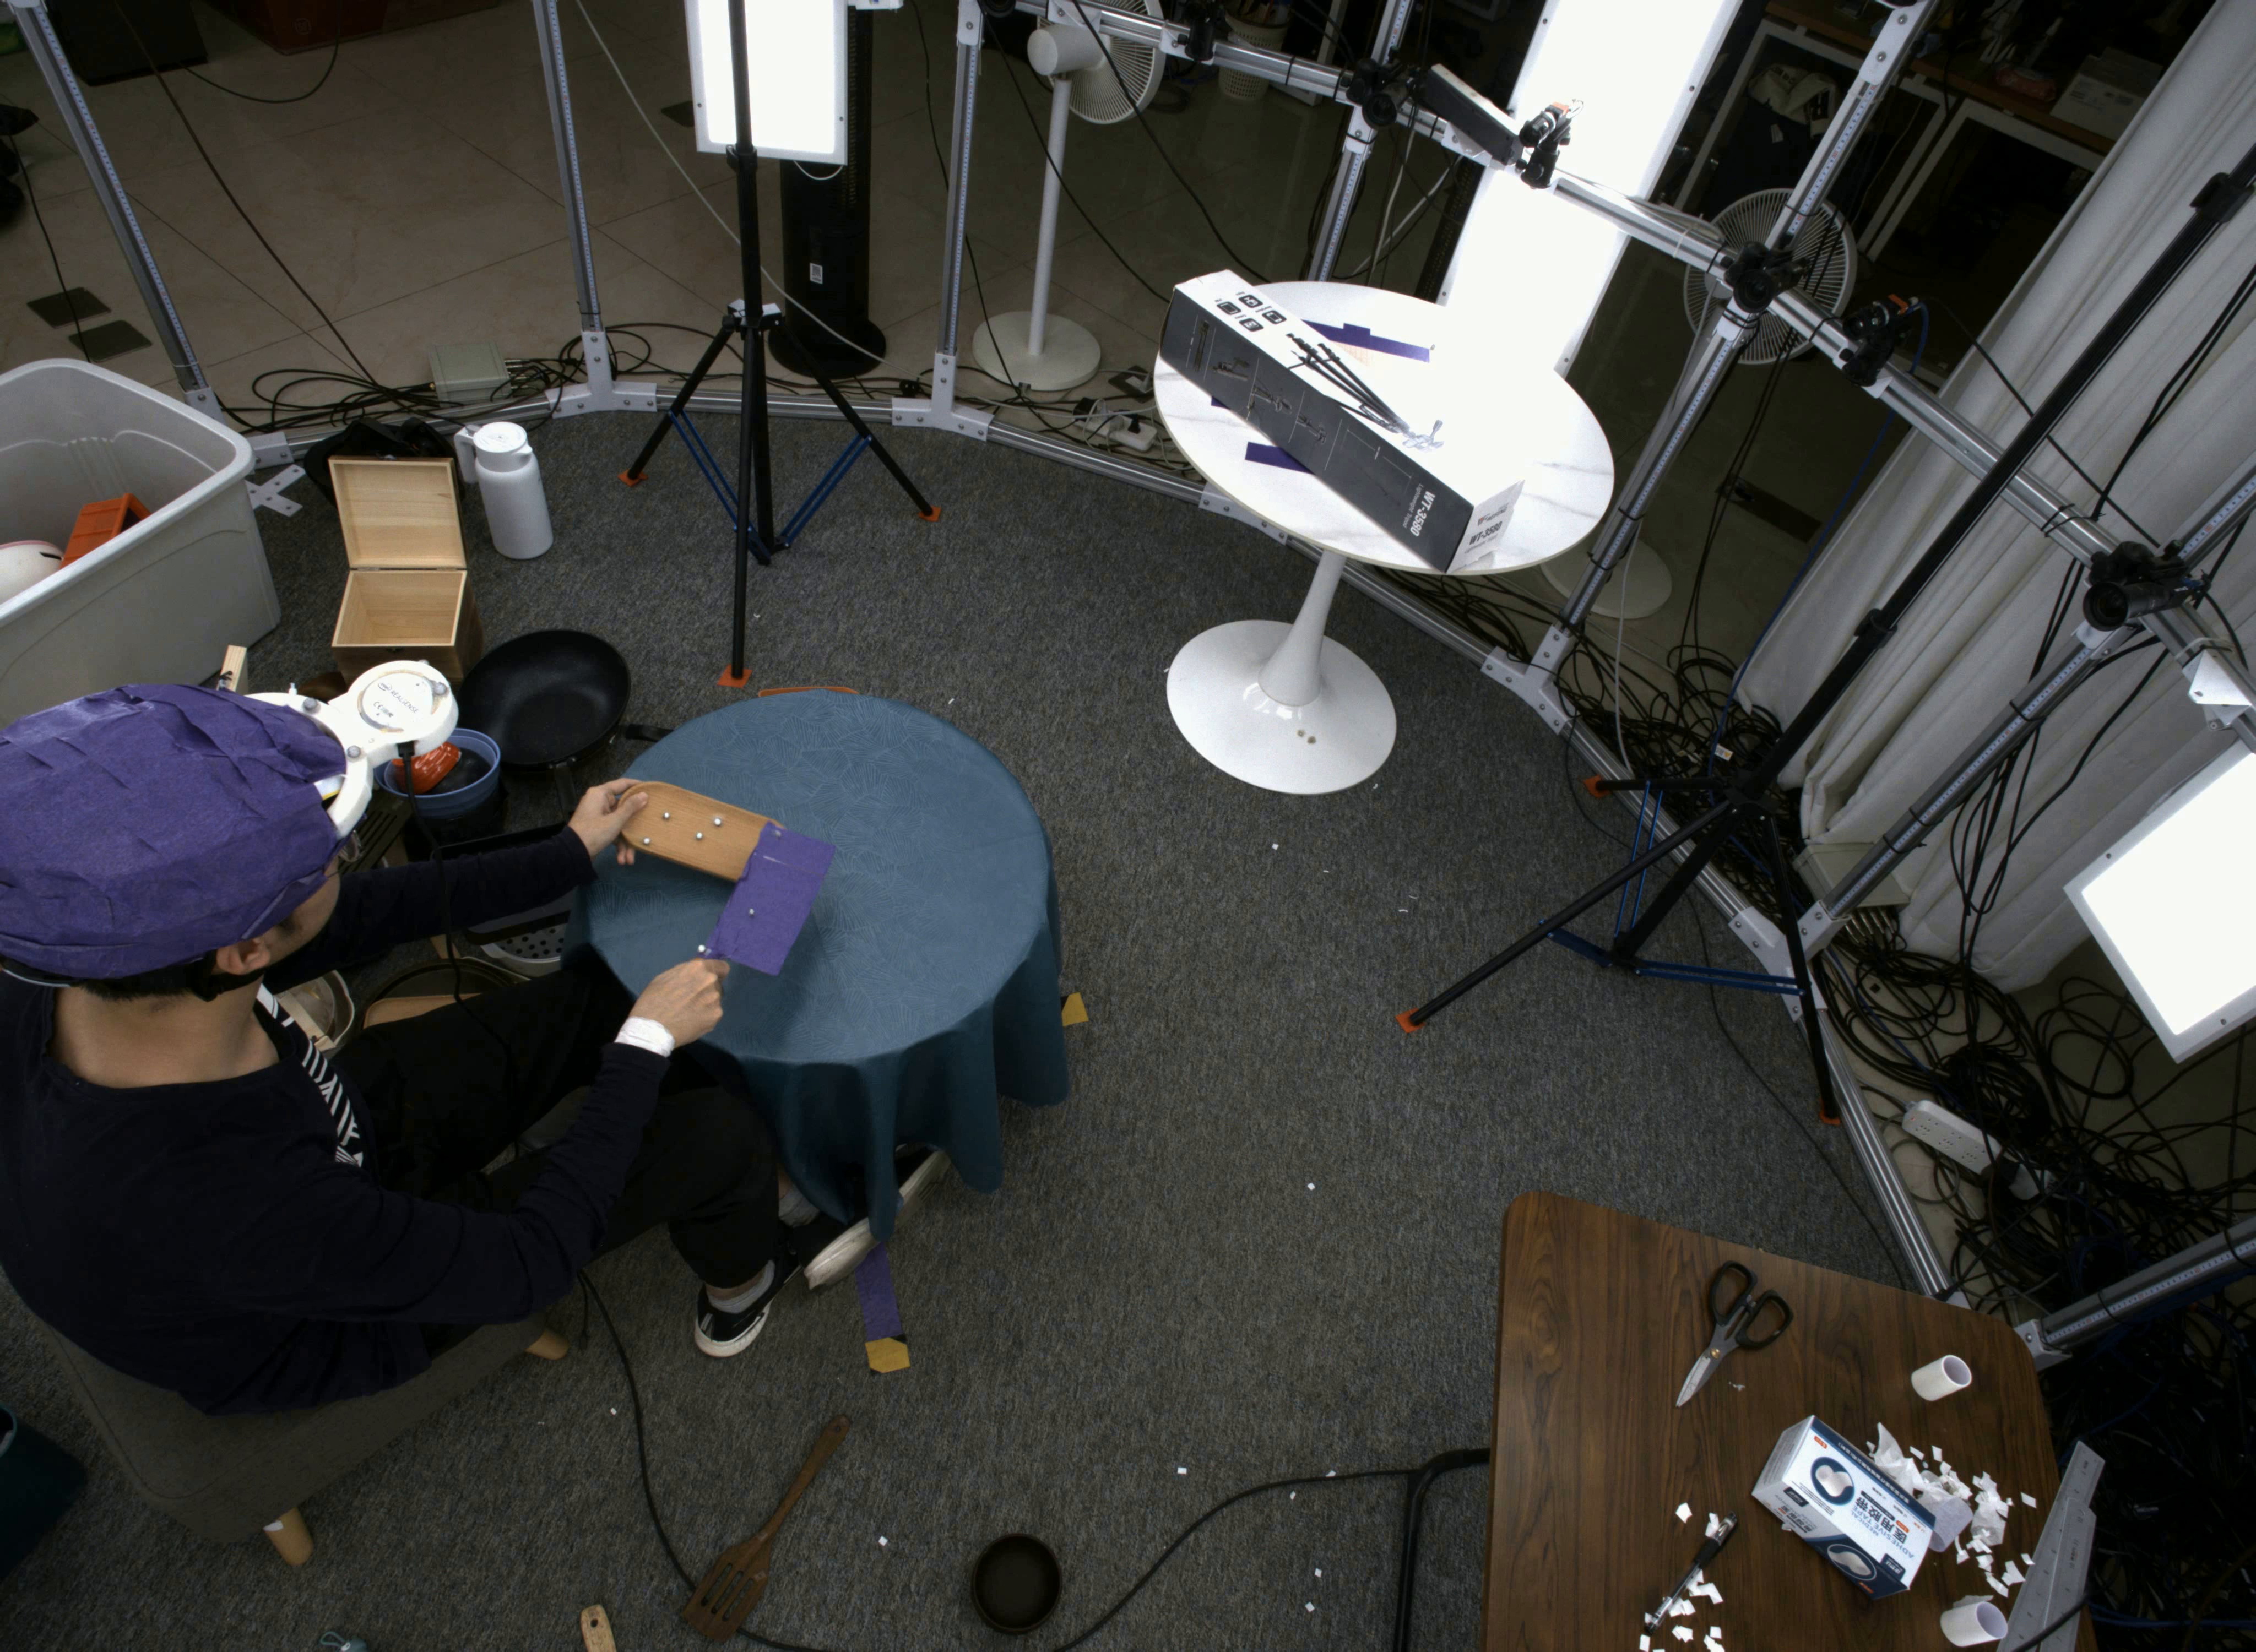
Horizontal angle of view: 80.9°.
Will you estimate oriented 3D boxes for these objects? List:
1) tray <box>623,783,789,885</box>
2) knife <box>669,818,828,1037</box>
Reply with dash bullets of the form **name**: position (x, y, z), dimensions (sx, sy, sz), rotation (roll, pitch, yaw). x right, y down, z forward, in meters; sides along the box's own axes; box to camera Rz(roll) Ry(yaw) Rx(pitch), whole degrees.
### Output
- **tray**: position (-0.530, 0.014, 1.644), dimensions (0.235, 0.020, 0.100), rotation (21, 58, -24)
- **knife**: position (-0.432, 0.115, 1.506), dimensions (0.104, 0.032, 0.311), rotation (19, 49, -7)
